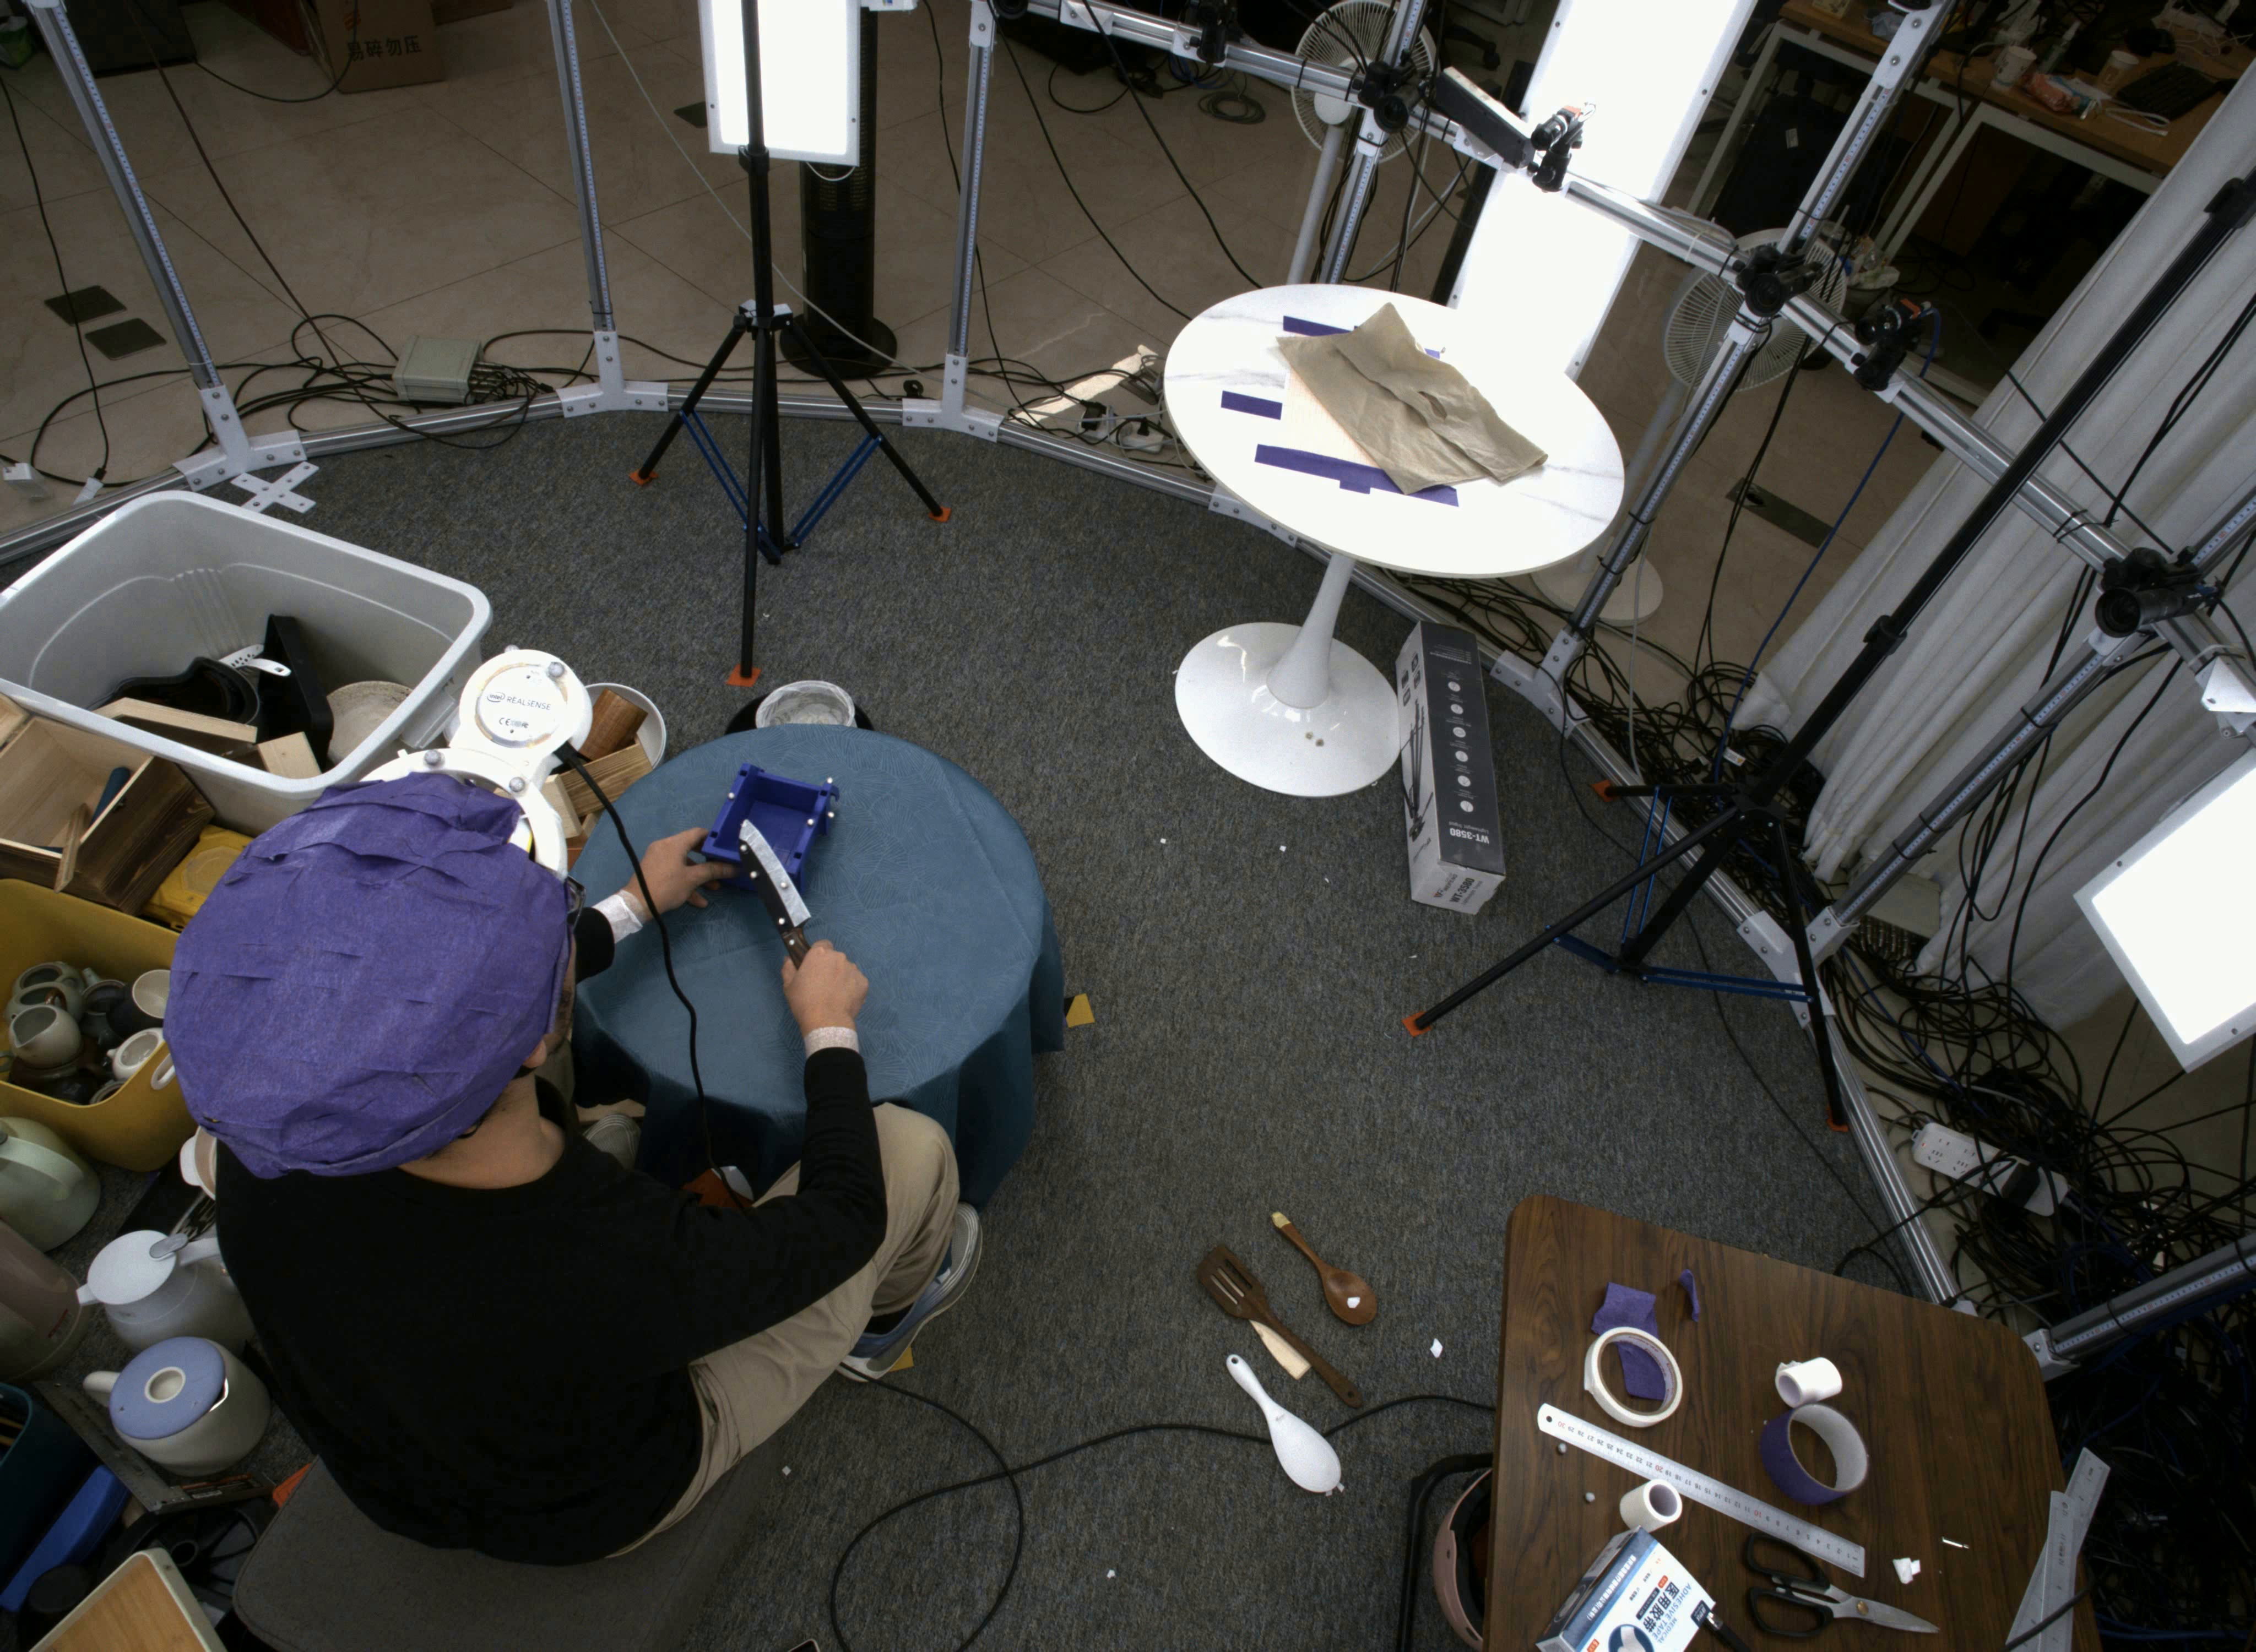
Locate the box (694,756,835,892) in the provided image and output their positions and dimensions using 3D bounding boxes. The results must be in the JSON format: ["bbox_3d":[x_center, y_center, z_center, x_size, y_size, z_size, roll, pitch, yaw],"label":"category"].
[{"bbox_3d":[-0.465,-0.009,1.662,0.123,0.083,0.177,15,54,-2],"label":"box"}]

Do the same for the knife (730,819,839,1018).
[{"bbox_3d":[-0.410,0.102,1.535,0.050,0.020,0.283,-33,68,1],"label":"knife"}]
